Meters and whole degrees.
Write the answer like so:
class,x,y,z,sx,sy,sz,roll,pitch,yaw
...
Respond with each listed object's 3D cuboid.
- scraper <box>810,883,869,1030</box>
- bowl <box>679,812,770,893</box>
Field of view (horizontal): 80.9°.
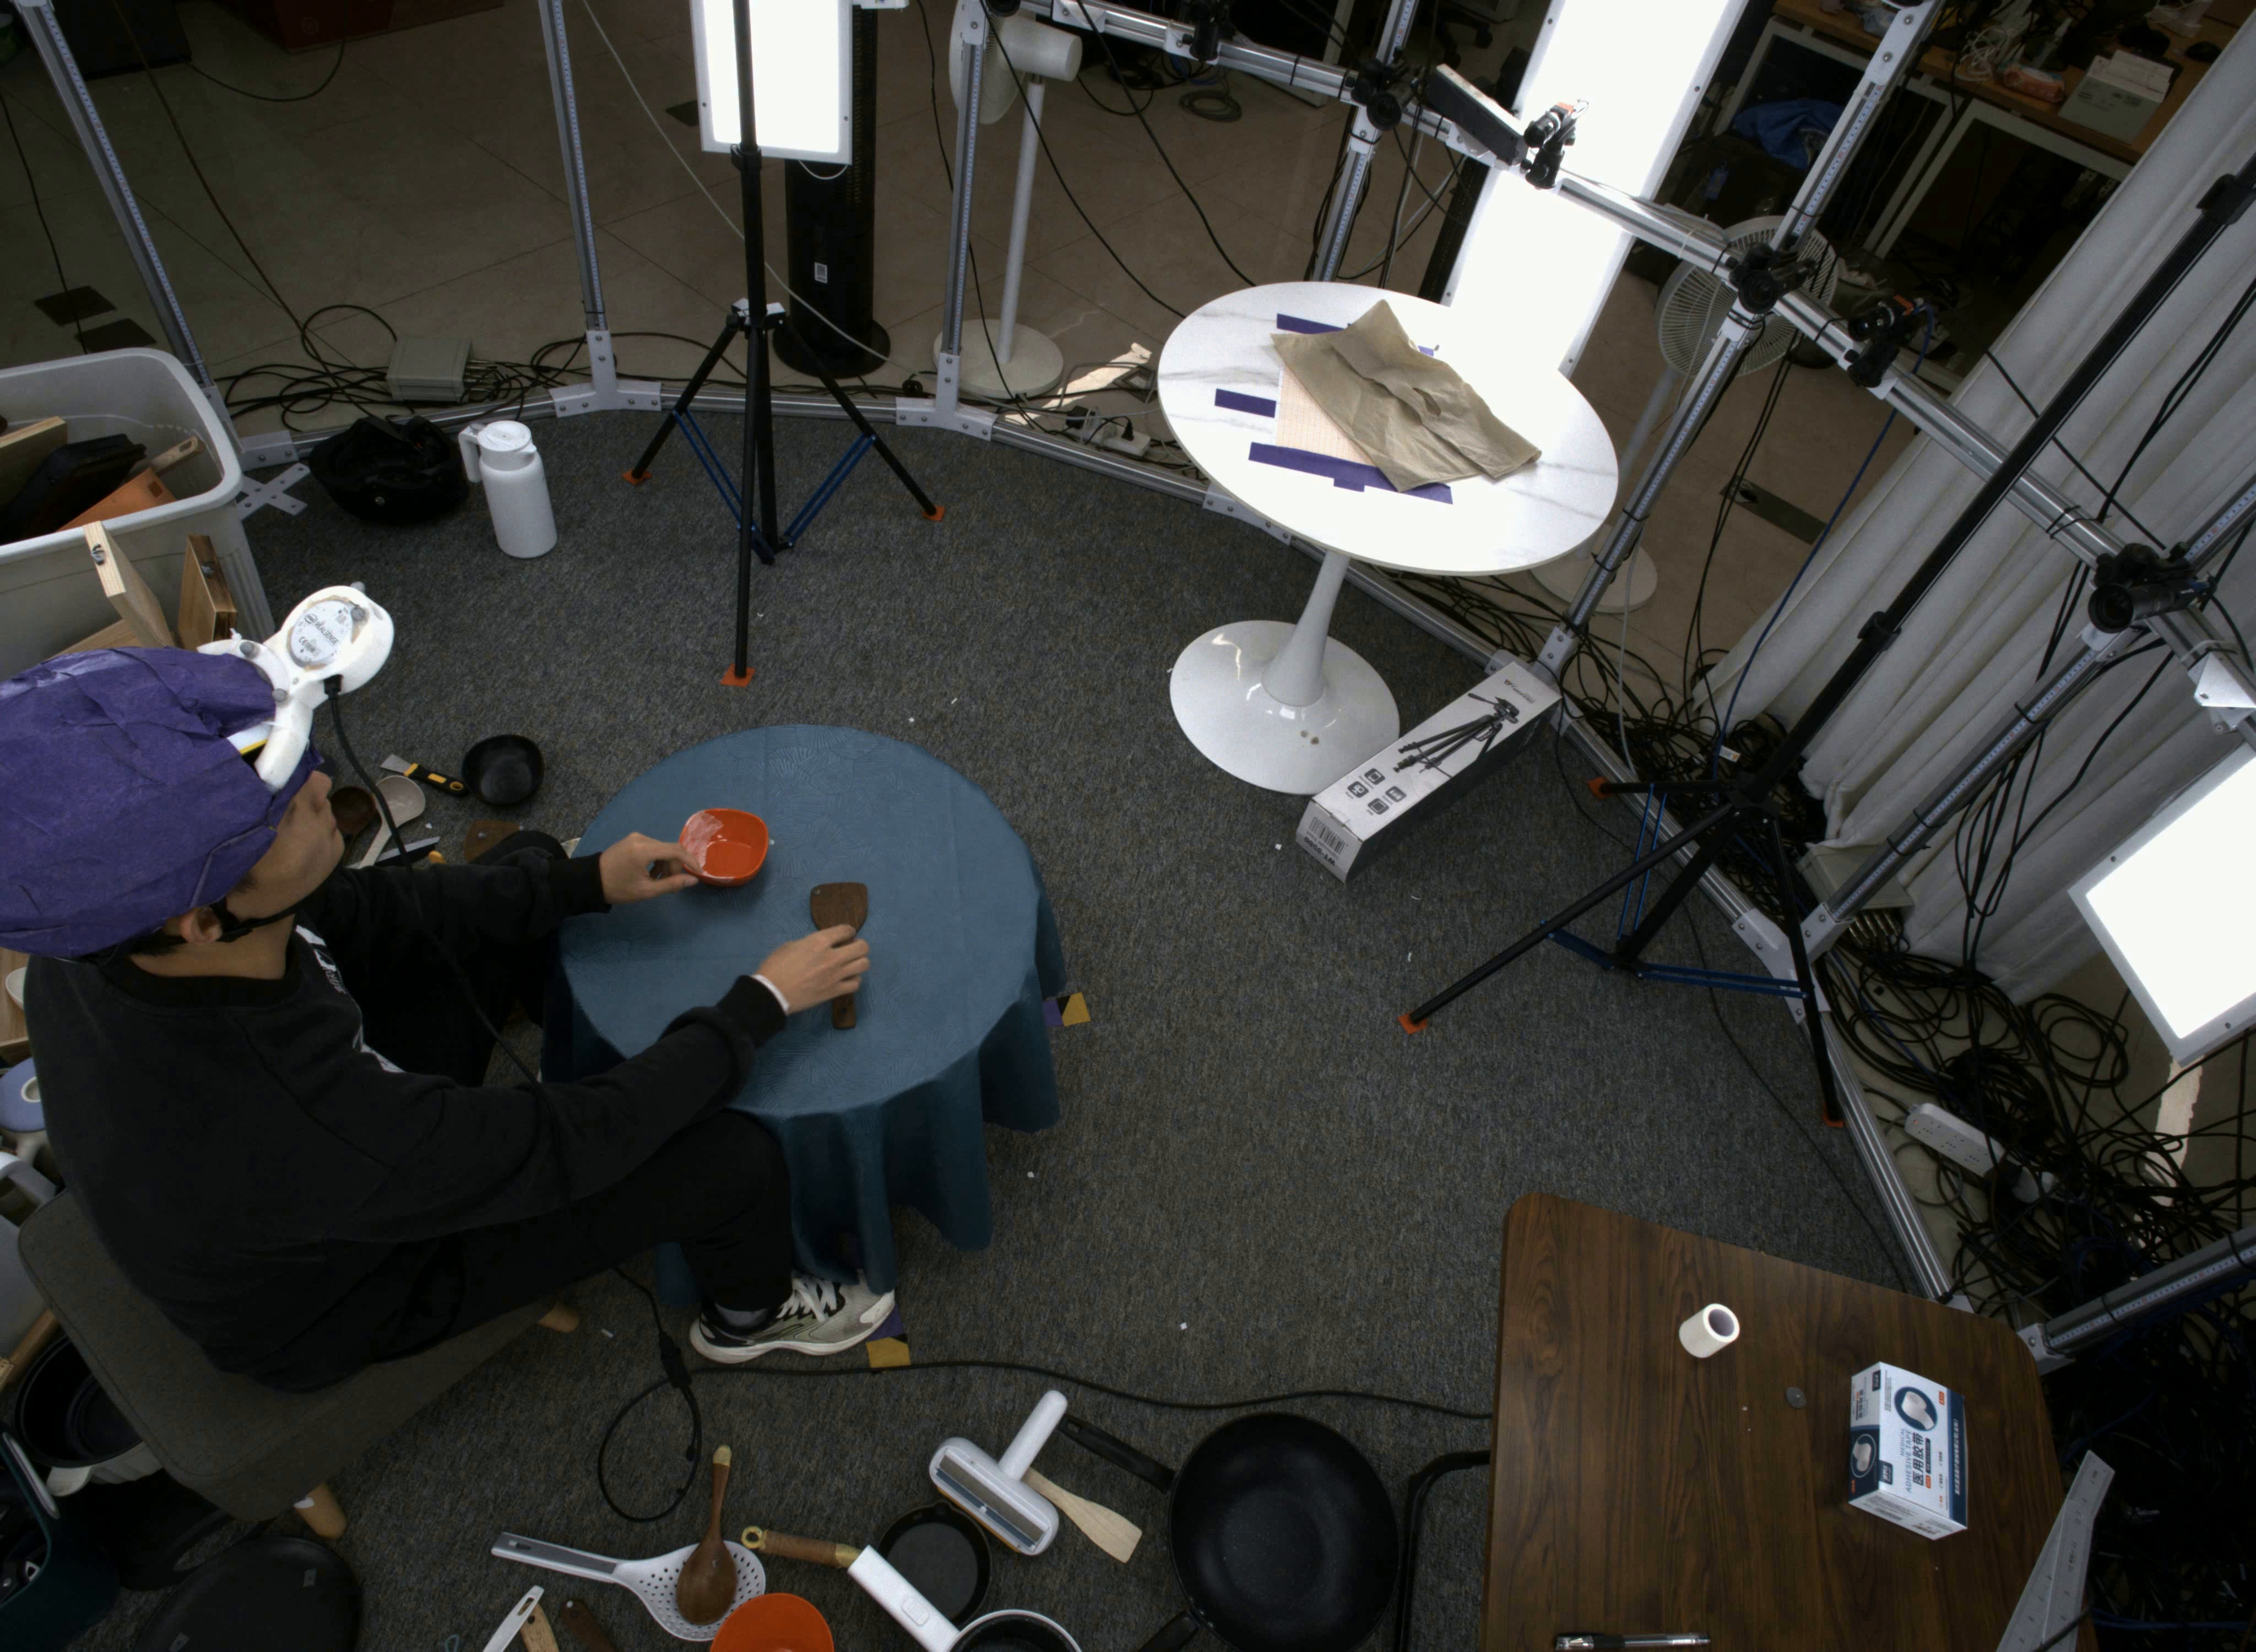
class,x,y,z,sx,sy,sz,roll,pitch,yaw
scraper,-0.357,0.159,1.623,0.076,0.011,0.207,-2,55,-14
bowl,-0.514,0.041,1.647,0.119,0.052,0.117,11,51,-11
